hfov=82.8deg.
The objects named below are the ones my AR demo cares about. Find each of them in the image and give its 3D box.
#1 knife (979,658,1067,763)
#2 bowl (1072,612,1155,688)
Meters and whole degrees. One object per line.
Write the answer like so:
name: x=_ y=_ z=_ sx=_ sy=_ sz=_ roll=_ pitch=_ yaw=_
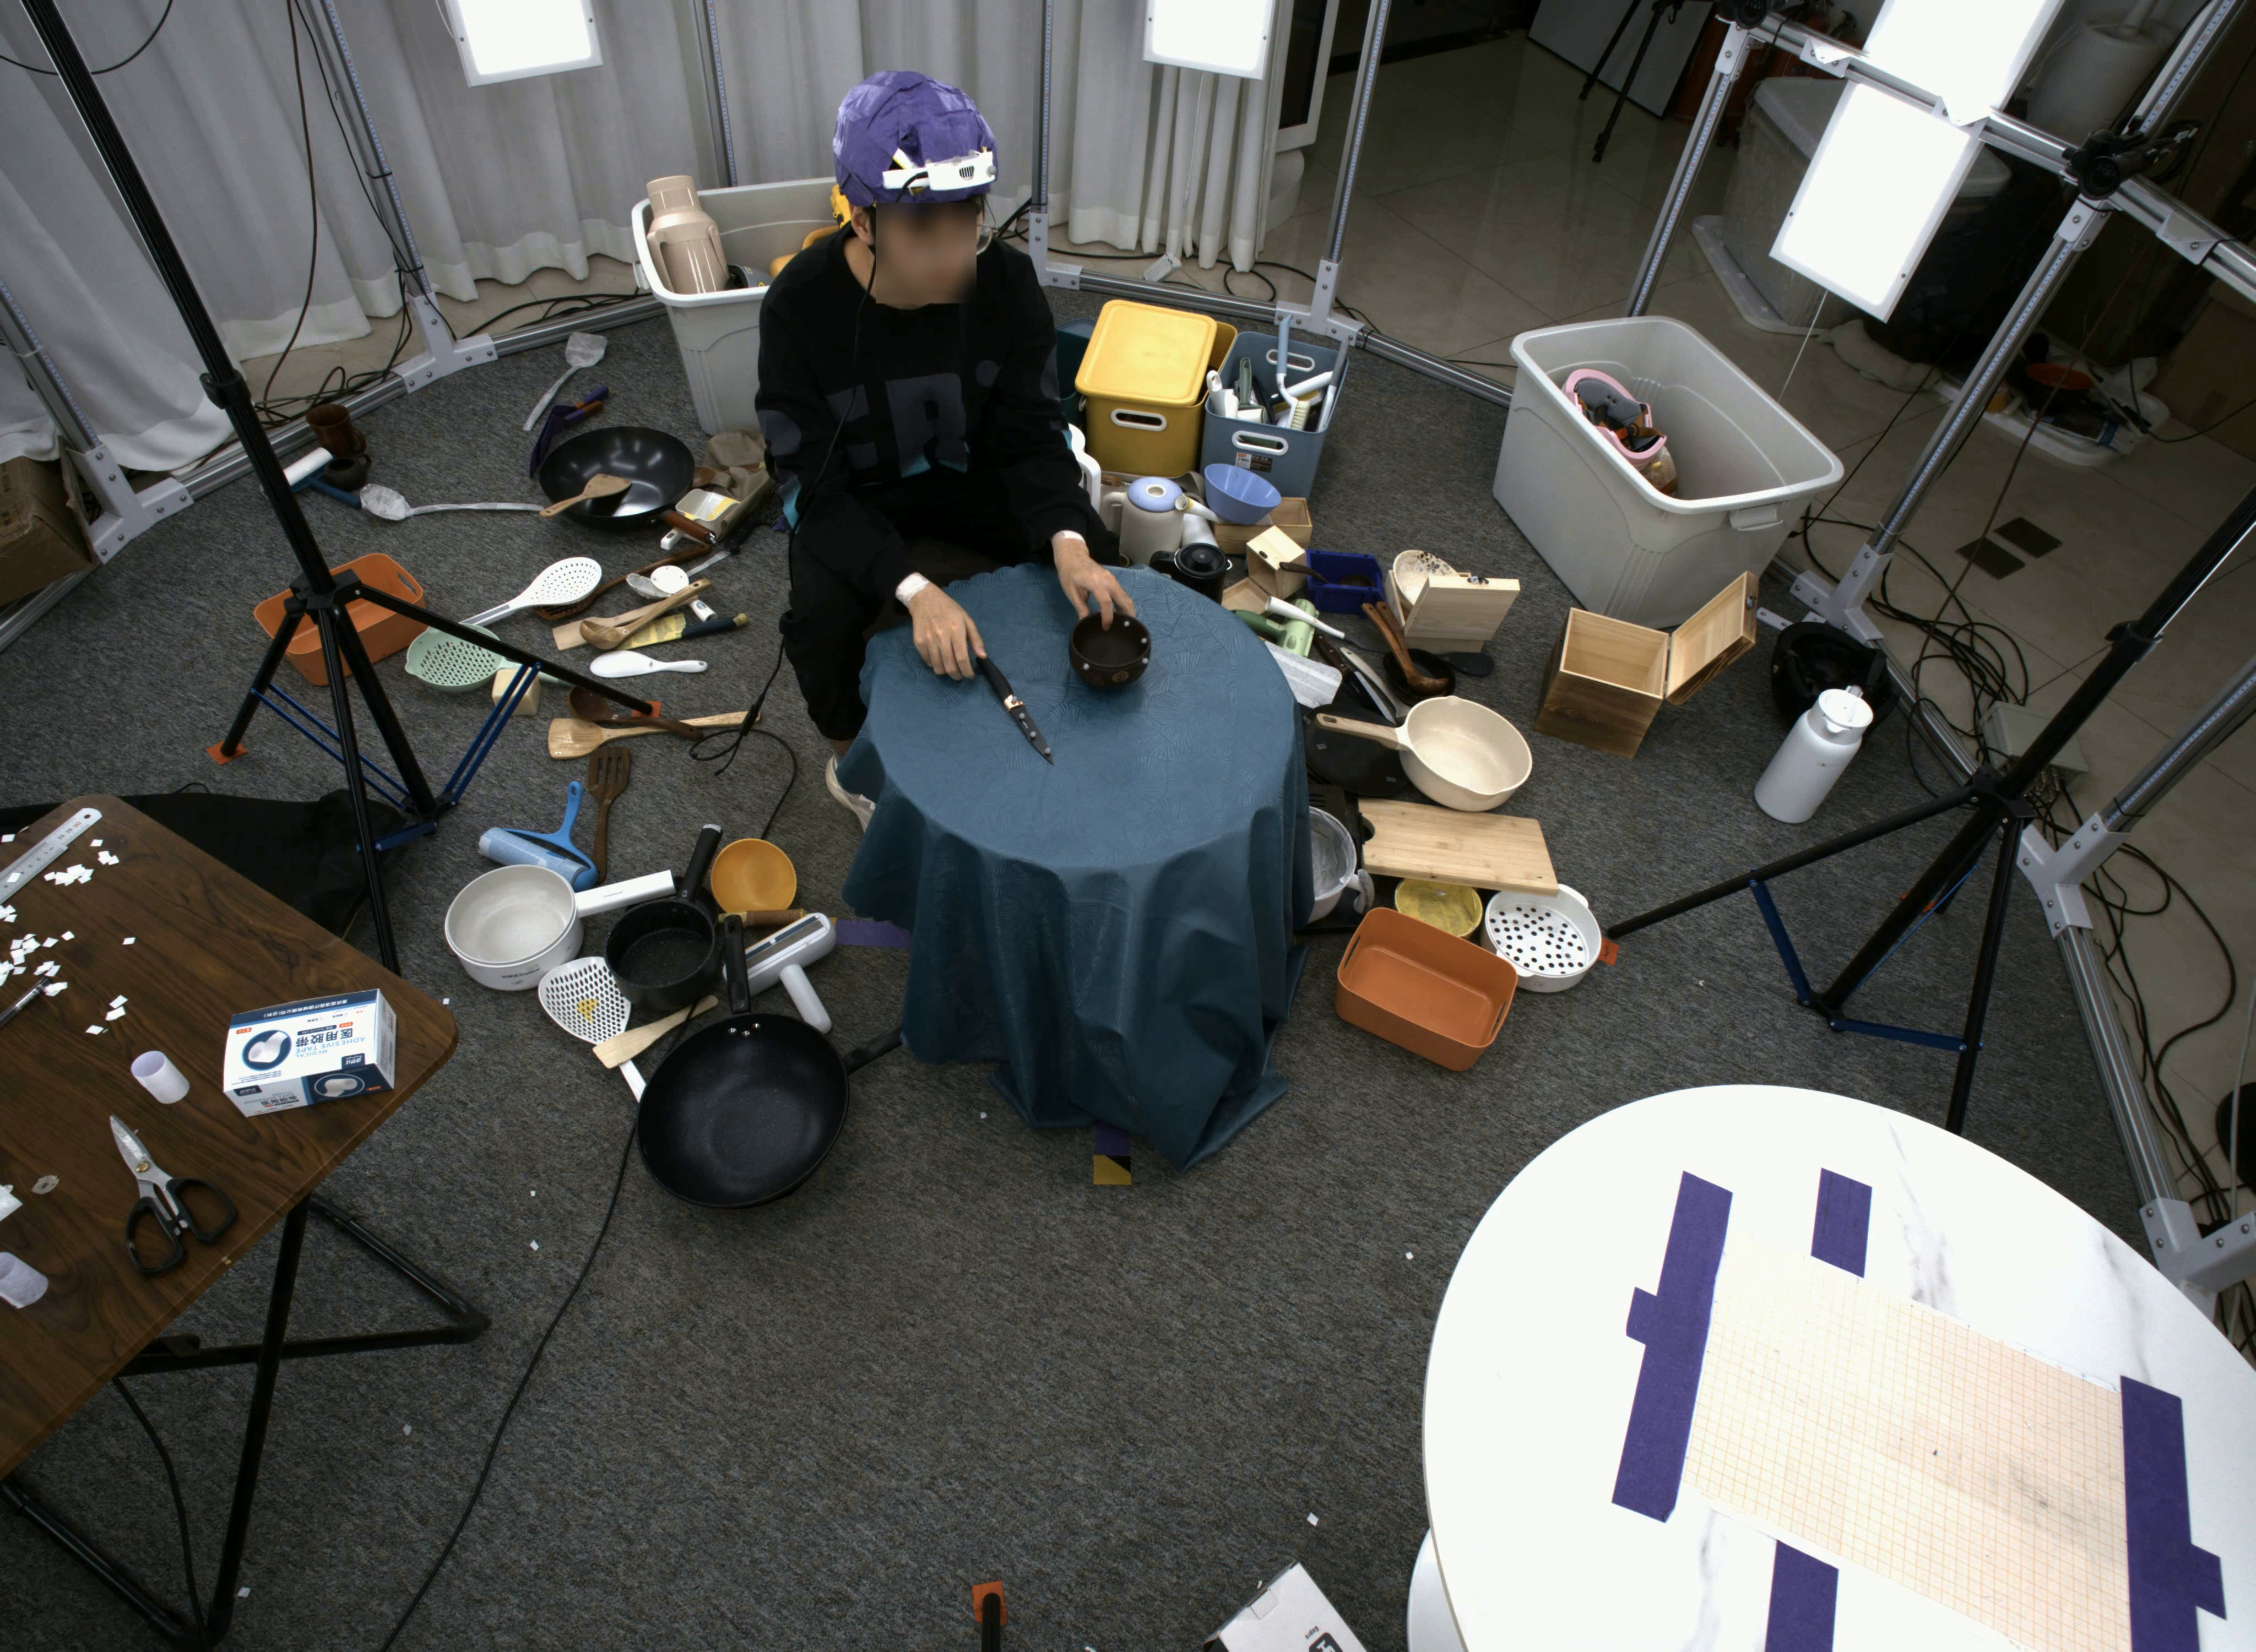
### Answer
knife: x=-0.148 y=-0.163 z=1.793 sx=0.026 sy=0.017 sz=0.230 roll=-18 pitch=54 yaw=-28
bowl: x=-0.021 y=-0.242 z=1.829 sx=0.118 sy=0.068 sz=0.121 roll=2 pitch=47 yaw=-2
